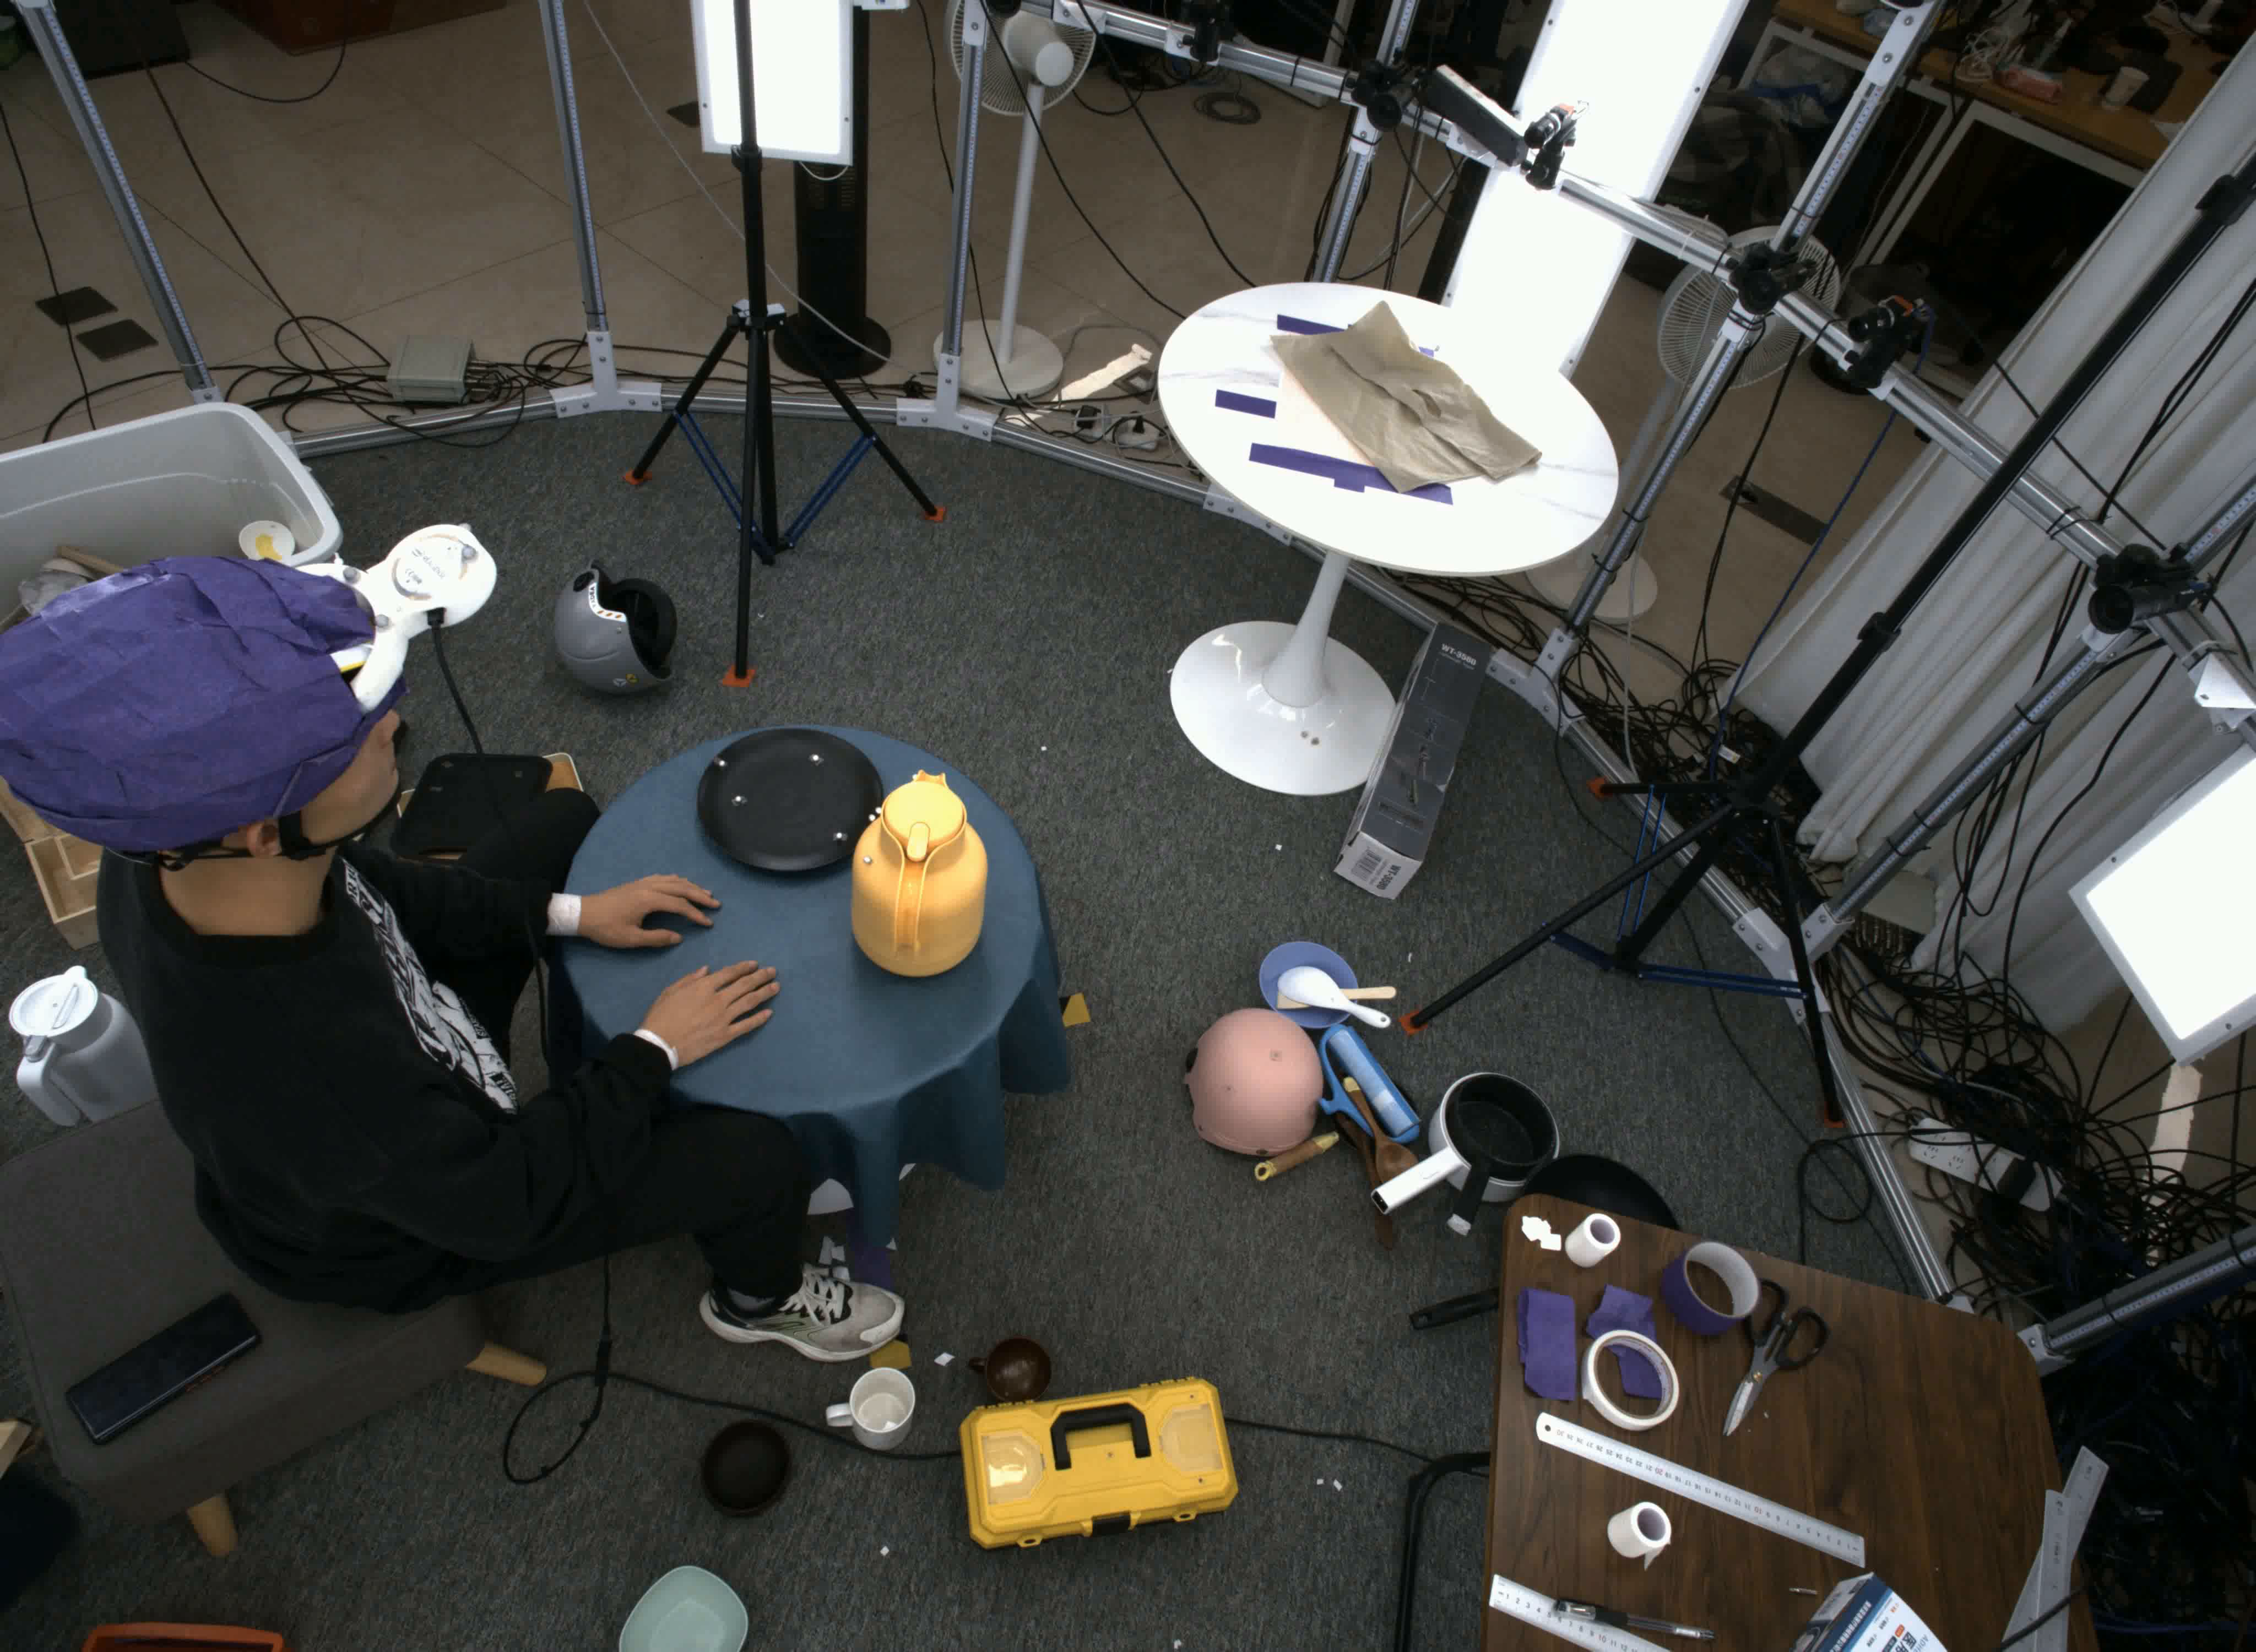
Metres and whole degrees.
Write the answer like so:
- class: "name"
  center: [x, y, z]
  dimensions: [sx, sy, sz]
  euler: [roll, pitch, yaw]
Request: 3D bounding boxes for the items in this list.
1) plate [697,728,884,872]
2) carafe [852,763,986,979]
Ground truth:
- class: "plate"
  center: [-0.448, -0.034, 1.725]
  dimensions: [0.244, 0.024, 0.240]
  euler: [8, 52, -9]
- class: "carafe"
  center: [-0.253, 0.067, 1.545]
  dimensions: [0.162, 0.267, 0.199]
  euler: [8, 49, -2]
